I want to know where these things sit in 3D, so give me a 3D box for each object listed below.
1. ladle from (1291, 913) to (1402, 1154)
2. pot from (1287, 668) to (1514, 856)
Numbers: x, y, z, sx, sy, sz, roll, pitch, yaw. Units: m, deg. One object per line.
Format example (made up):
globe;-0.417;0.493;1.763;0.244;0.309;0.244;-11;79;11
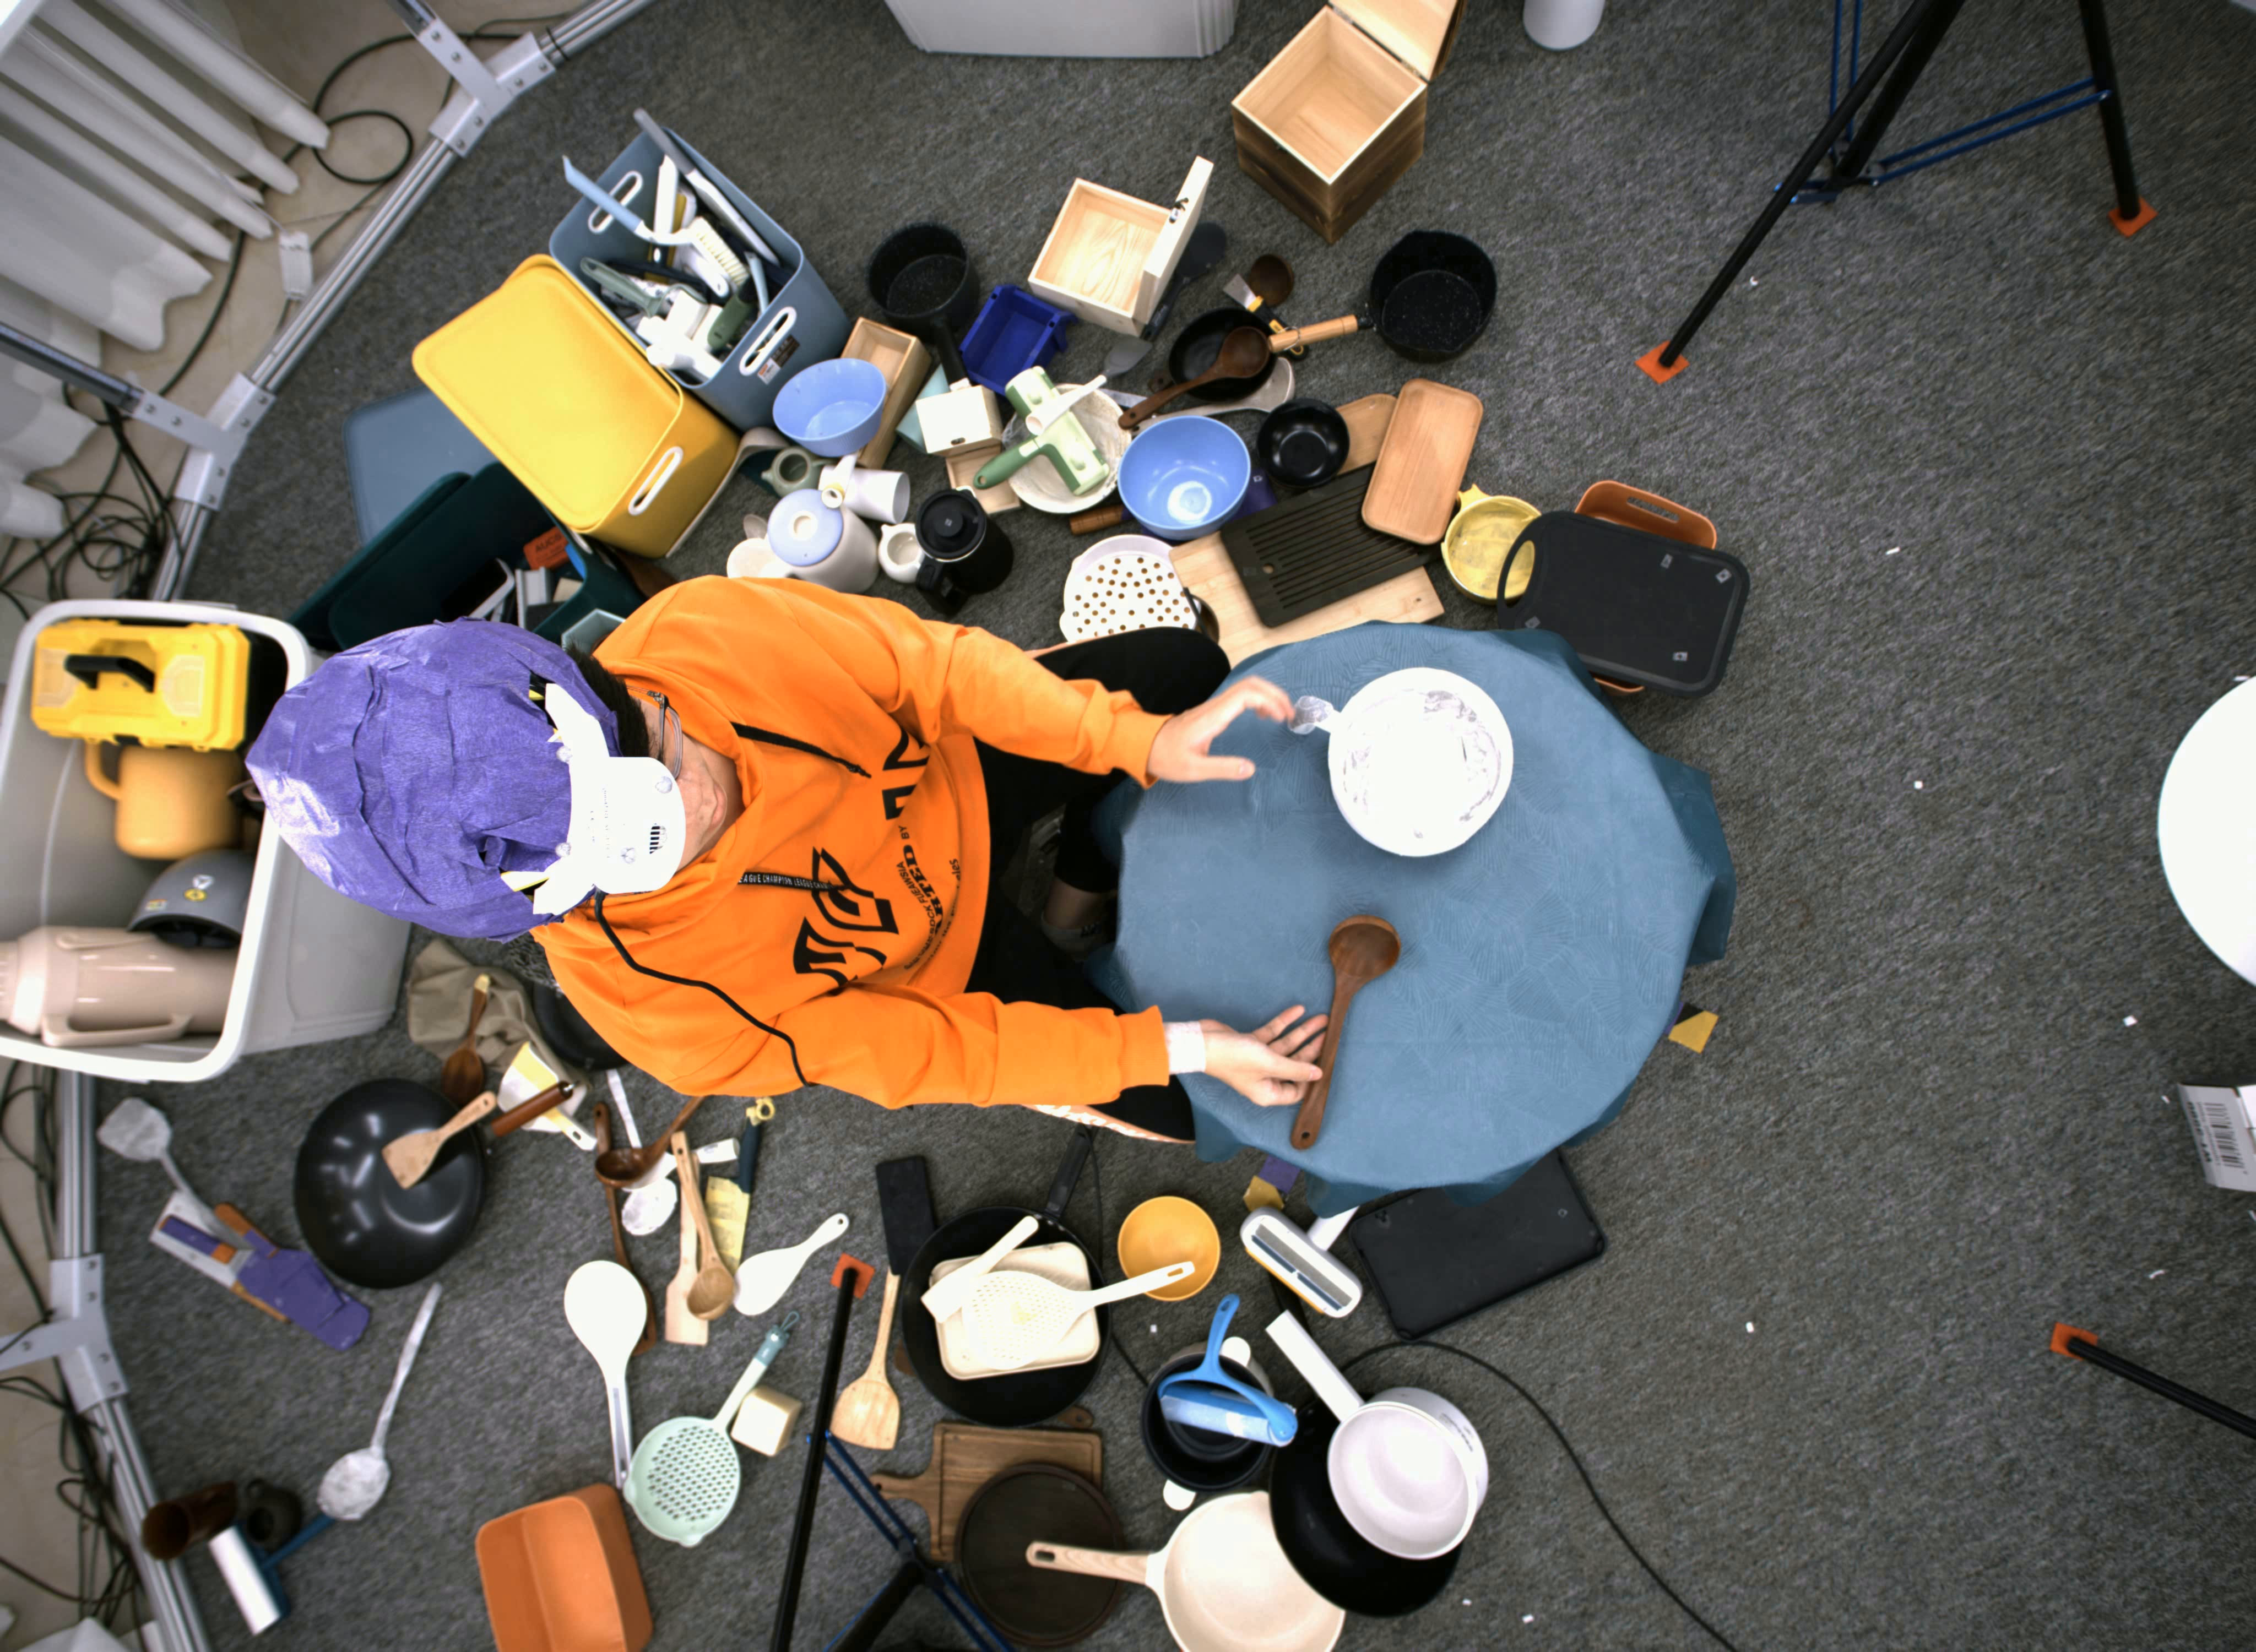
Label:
ladle;0.216;0.215;1.429;0.076;0.065;0.260;17;89;5
pot;0.269;-0.073;1.399;0.233;0.137;0.179;25;90;11
